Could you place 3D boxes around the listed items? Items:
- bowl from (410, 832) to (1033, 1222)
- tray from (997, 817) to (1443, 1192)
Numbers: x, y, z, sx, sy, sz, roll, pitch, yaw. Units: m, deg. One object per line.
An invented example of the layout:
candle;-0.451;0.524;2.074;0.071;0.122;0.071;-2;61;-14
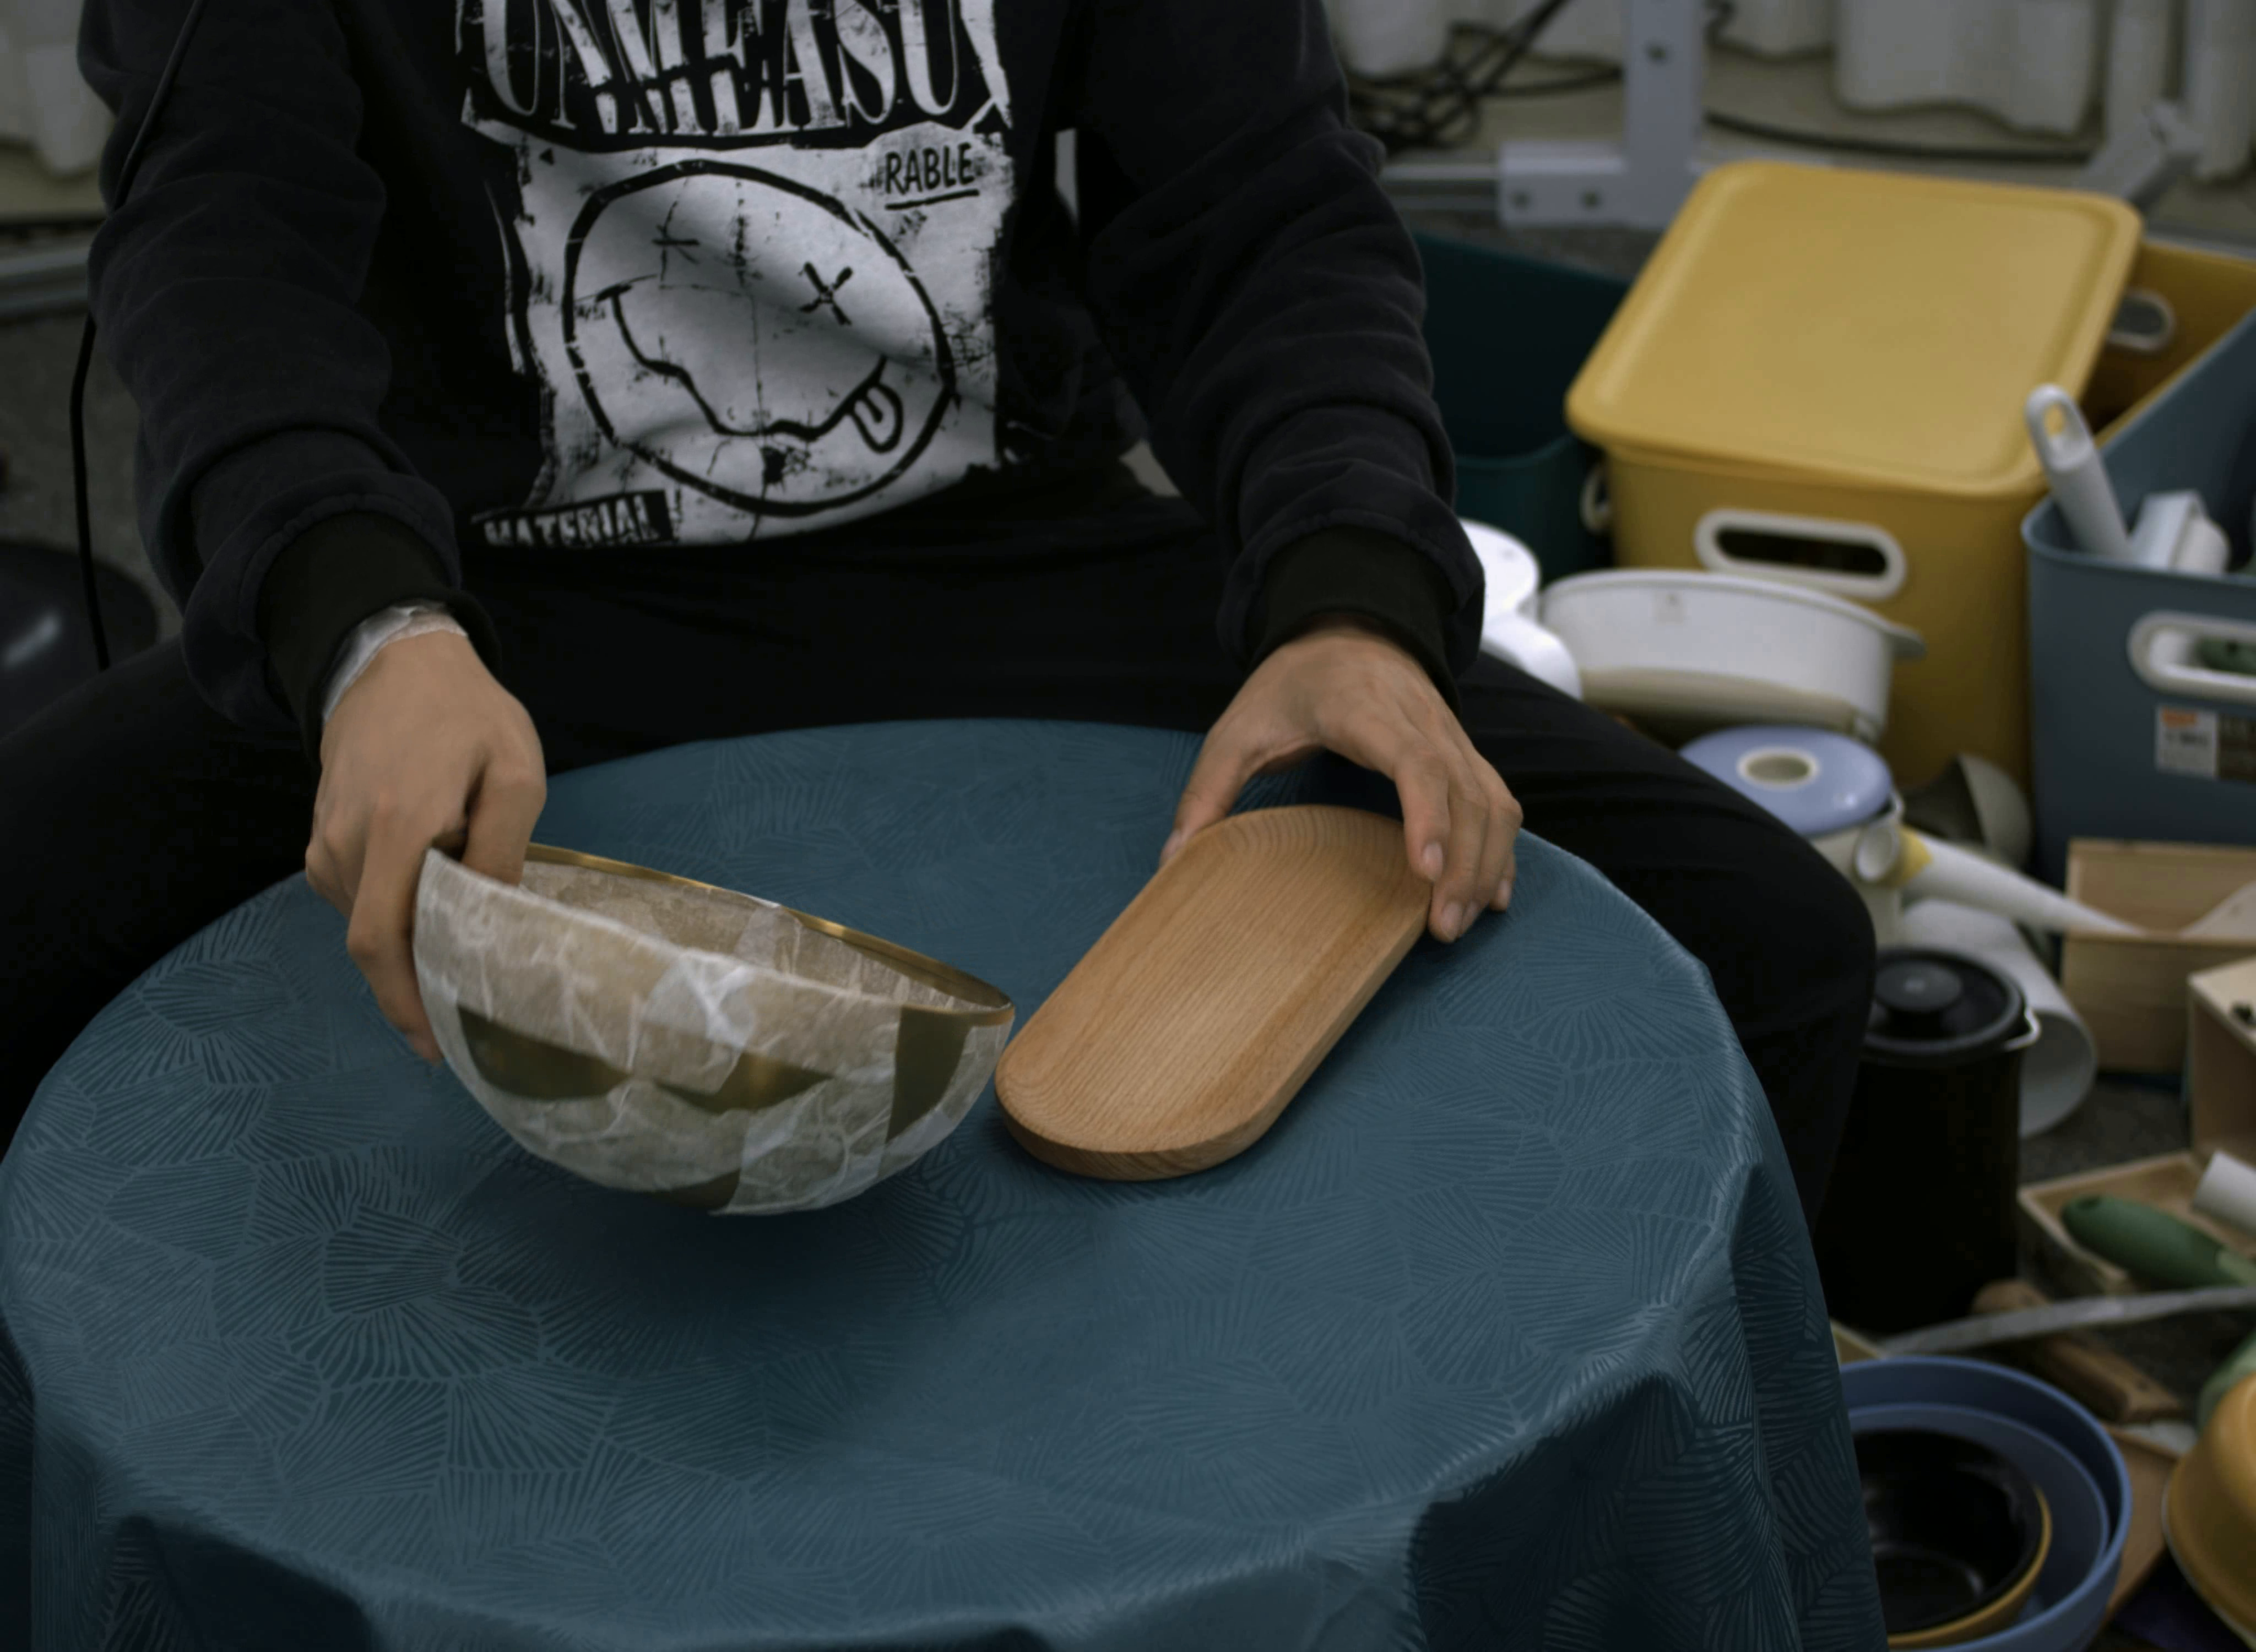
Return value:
bowl;-0.140;0.075;1.829;0.214;0.095;0.215;15;5;-1
tray;0.034;0.060;1.951;0.101;0.020;0.235;8;33;24
